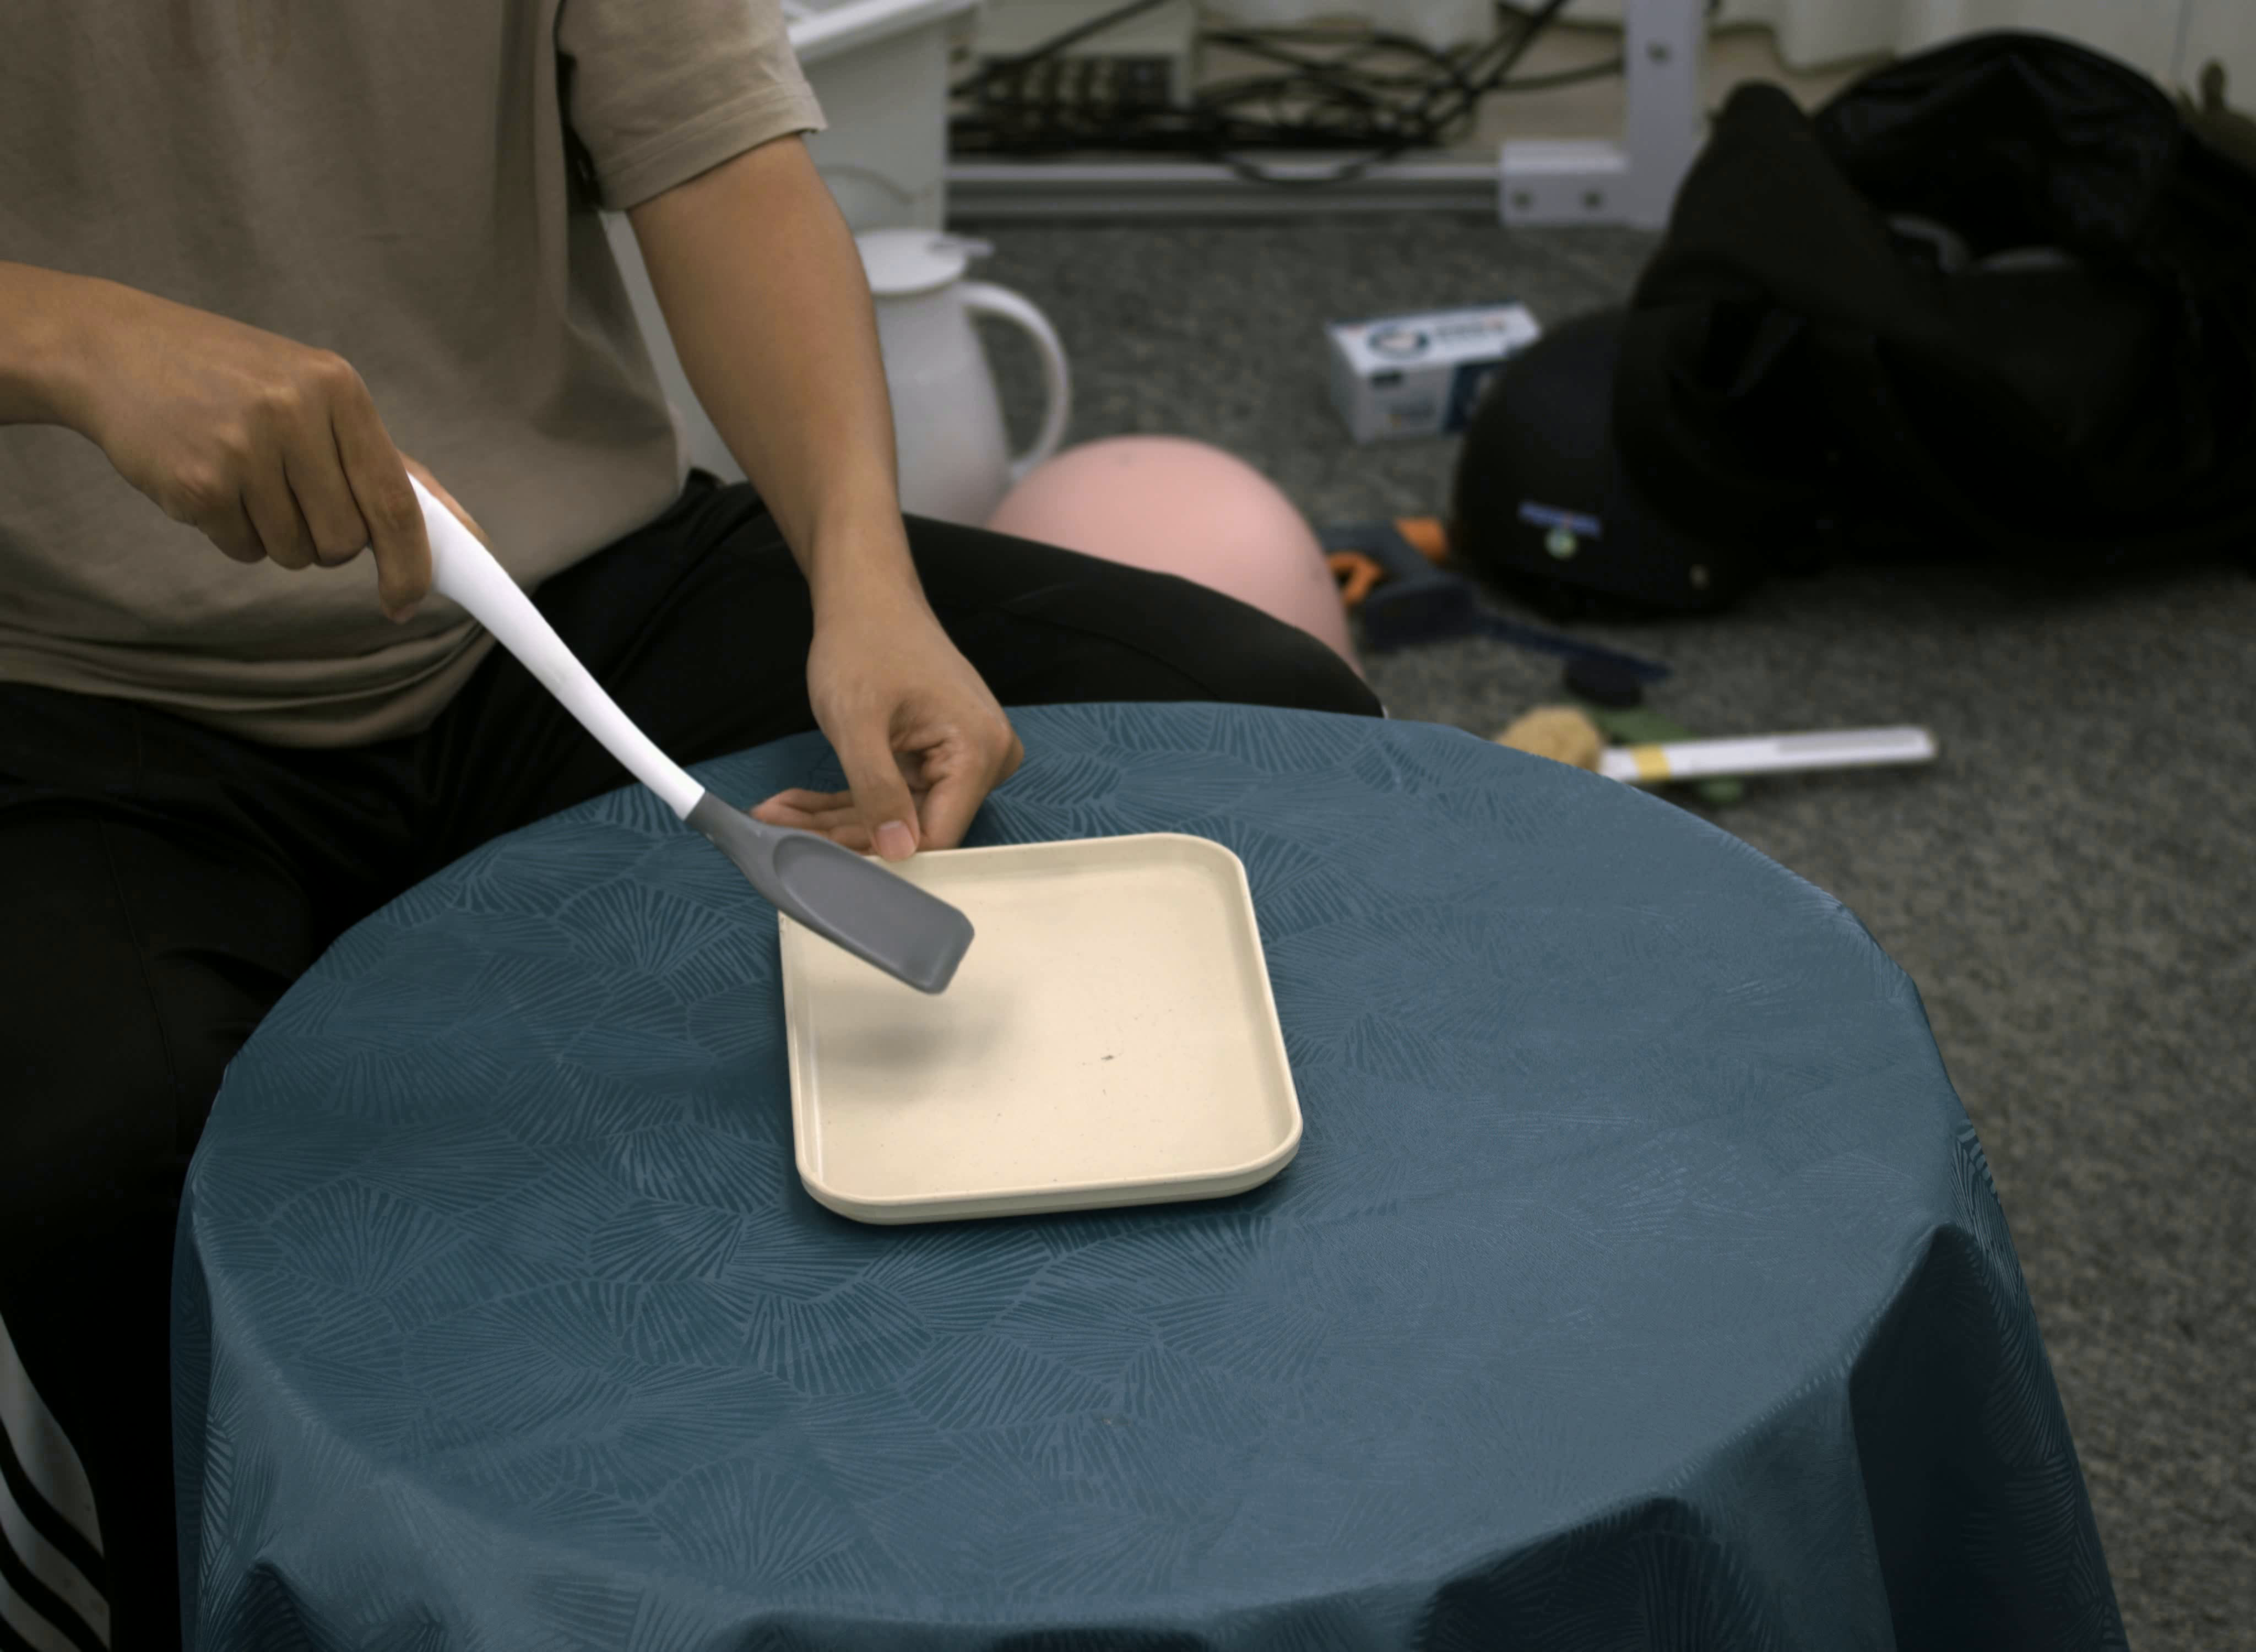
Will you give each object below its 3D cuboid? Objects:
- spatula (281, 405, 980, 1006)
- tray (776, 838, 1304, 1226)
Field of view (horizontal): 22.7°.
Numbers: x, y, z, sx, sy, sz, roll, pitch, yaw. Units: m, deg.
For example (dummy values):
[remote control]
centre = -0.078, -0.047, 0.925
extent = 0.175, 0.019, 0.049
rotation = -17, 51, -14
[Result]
[spatula]
centre = -0.168, -0.037, 1.912
extent = 0.287, 0.032, 0.059
rotation = 41, 28, -9
[tray]
centre = -0.034, 0.070, 1.944
extent = 0.171, 0.017, 0.243
rotation = -4, 27, -4
